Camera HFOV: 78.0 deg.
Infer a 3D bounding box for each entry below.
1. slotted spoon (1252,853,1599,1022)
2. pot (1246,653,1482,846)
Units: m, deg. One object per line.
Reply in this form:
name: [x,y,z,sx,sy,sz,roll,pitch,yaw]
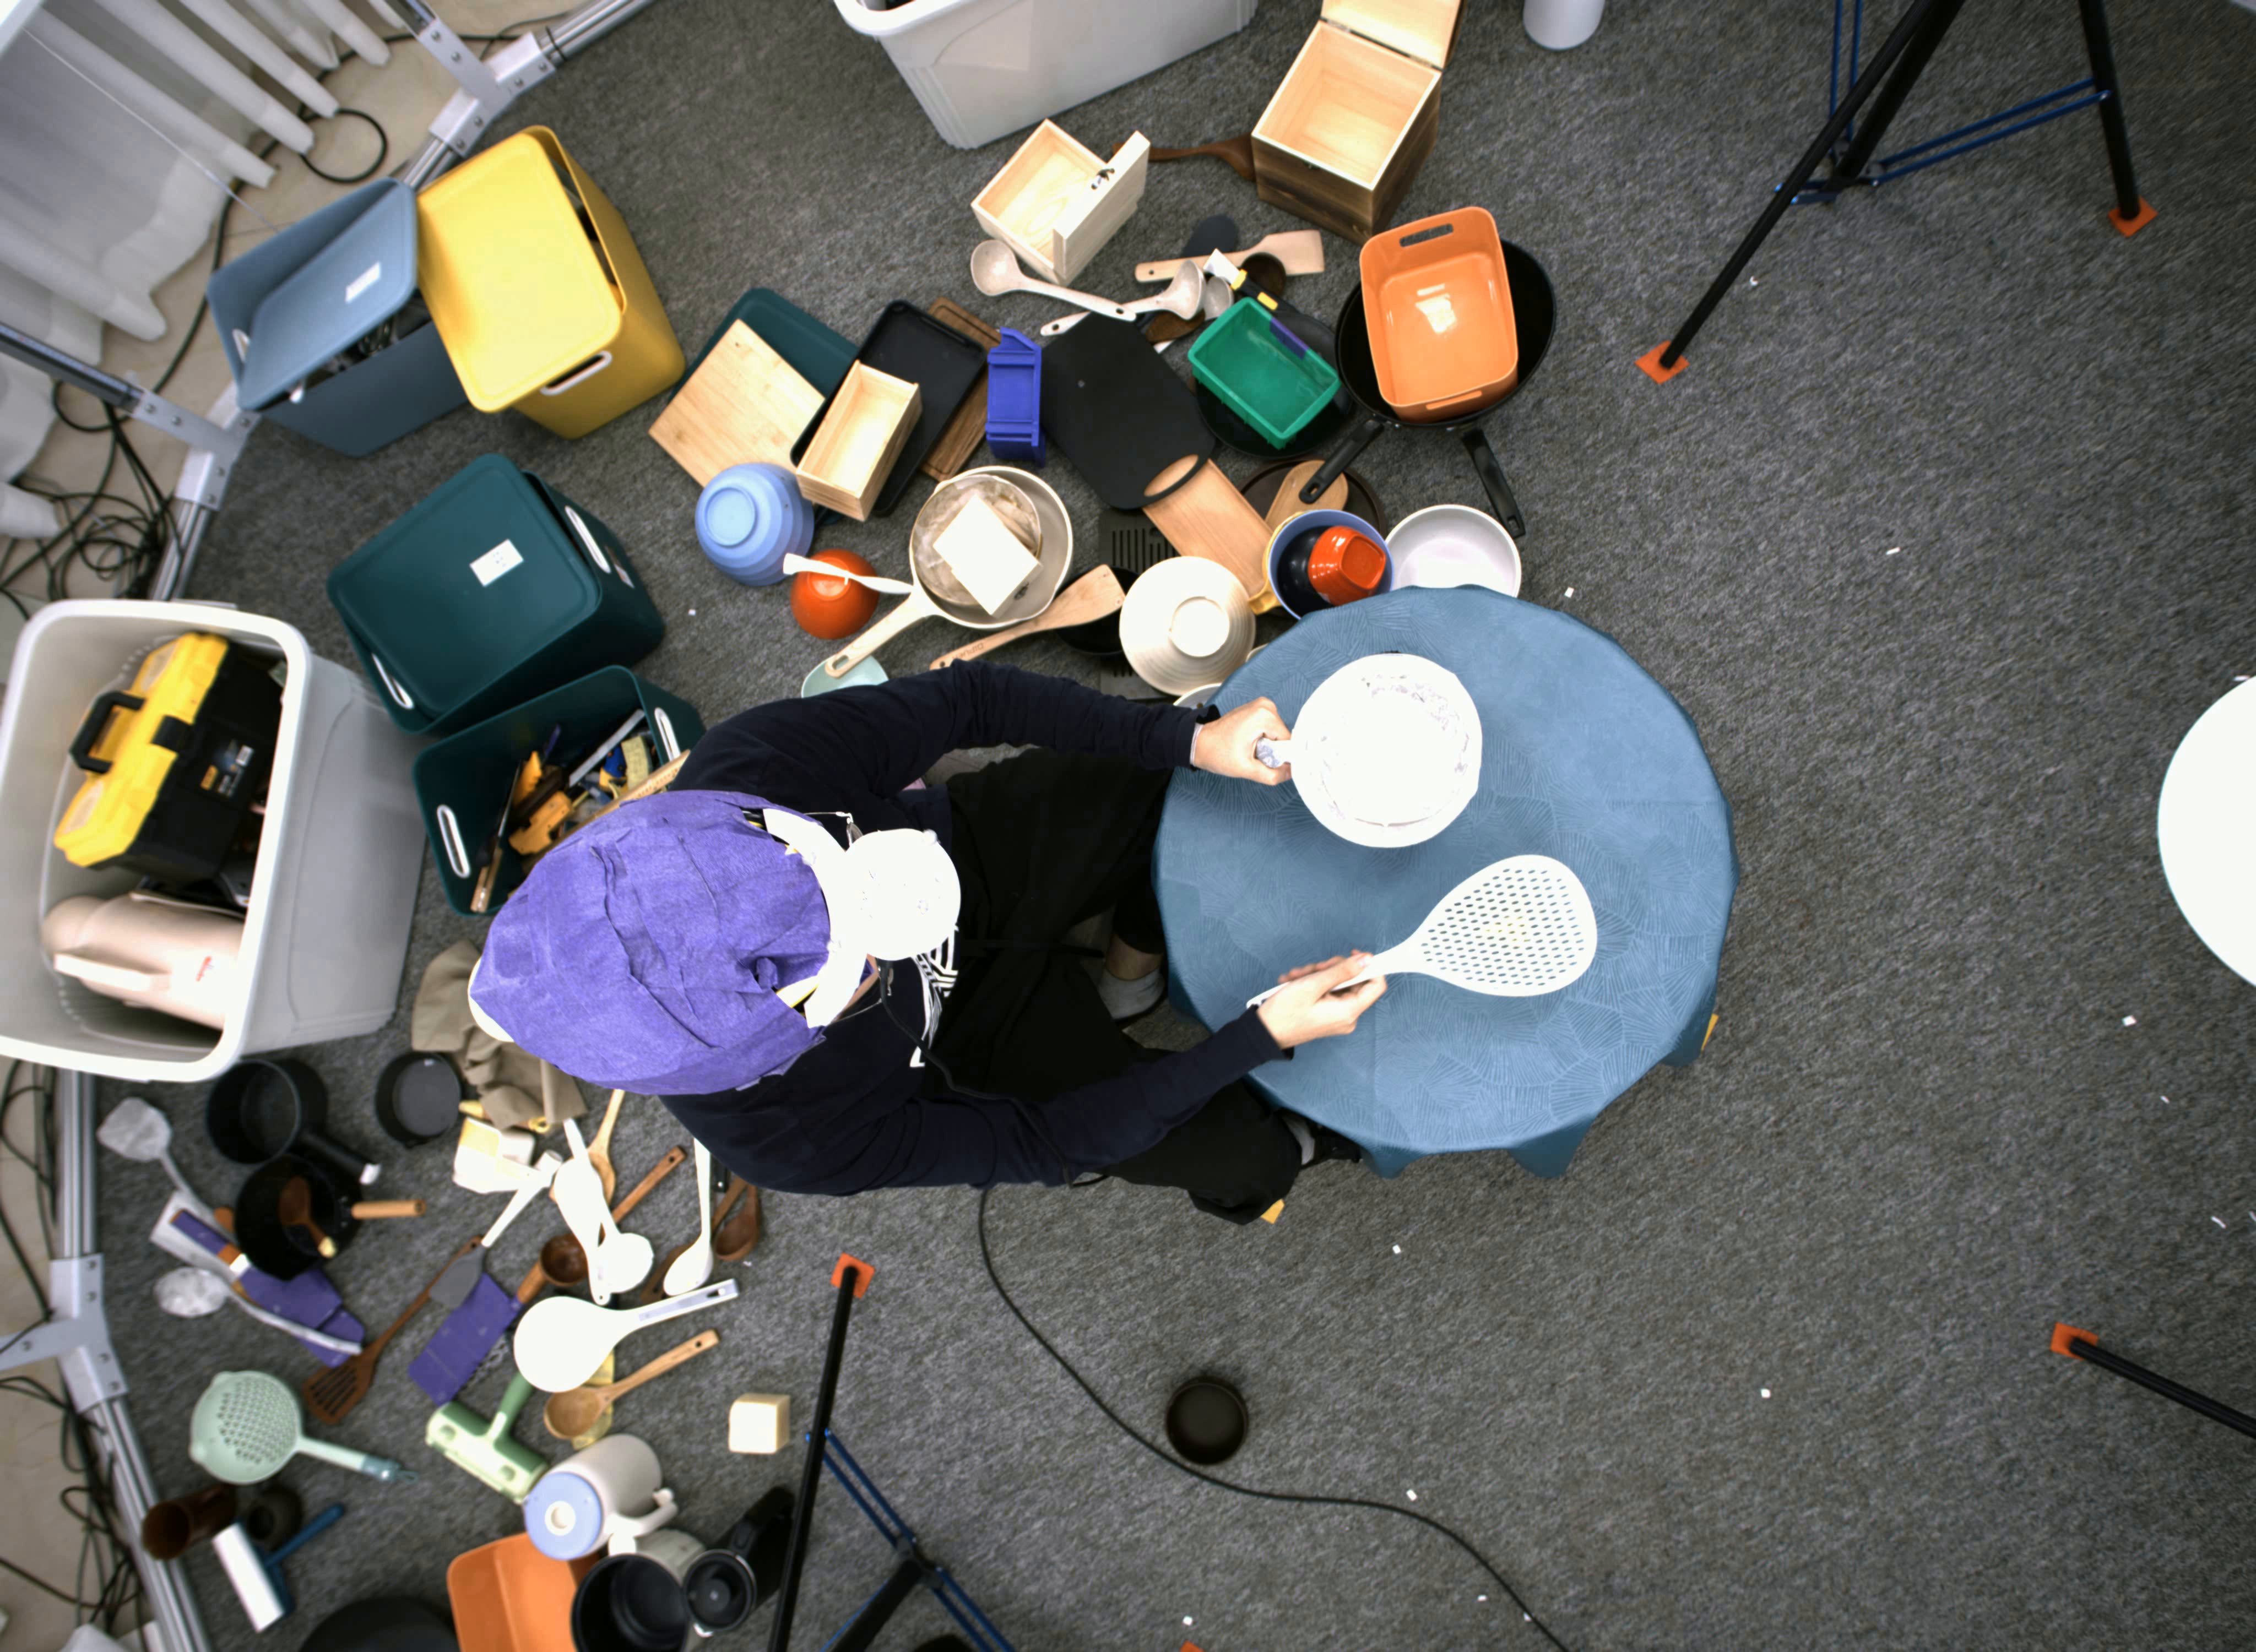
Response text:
slotted spoon: [0.287,0.129,1.364,0.349,0.050,0.135,-17,78,6]
pot: [0.227,-0.078,1.346,0.235,0.135,0.180,-3,99,15]
